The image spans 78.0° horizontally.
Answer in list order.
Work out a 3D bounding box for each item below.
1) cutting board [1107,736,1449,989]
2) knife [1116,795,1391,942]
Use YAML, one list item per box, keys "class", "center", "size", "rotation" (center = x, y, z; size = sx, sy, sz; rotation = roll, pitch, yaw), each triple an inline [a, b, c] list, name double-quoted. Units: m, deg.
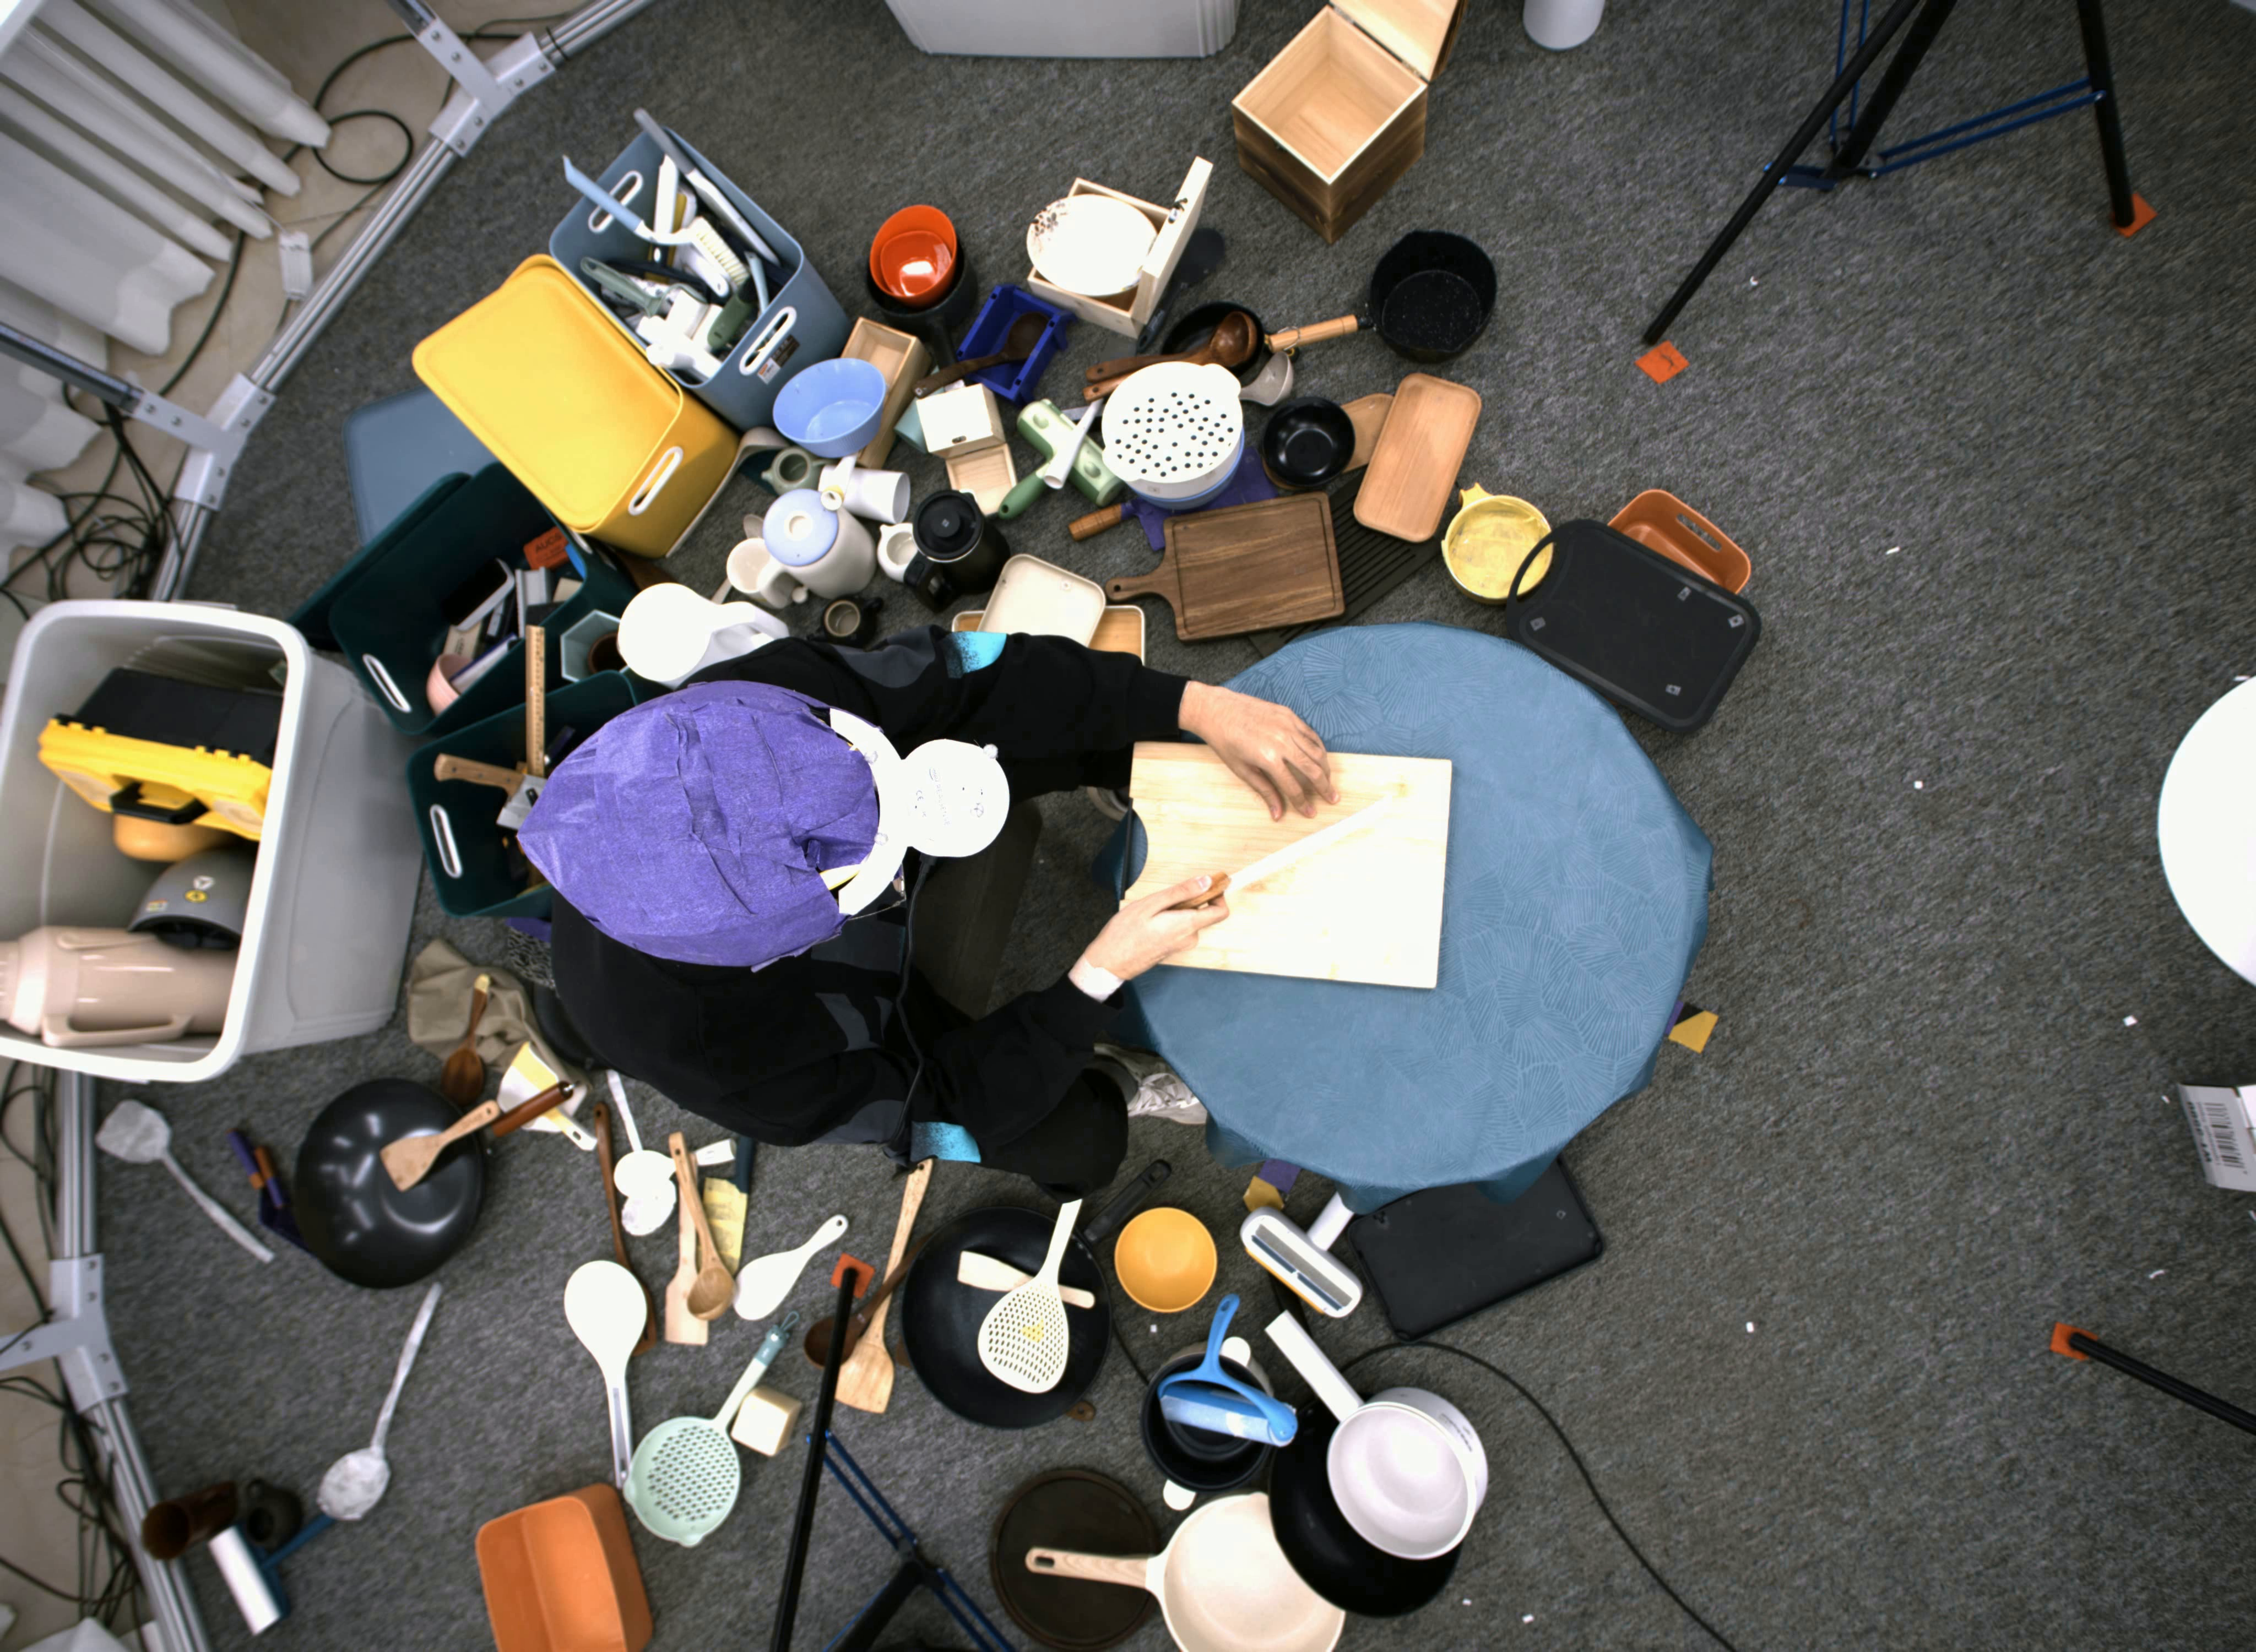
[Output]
- class: "cutting board"
  center: [0.158, 0.035, 1.474]
  size: [0.350, 0.023, 0.250]
  rotation: [3, 87, 11]
- class: "knife"
  center: [0.131, 0.044, 1.410]
  size: [0.307, 0.093, 0.021]
  rotation: [-27, 77, 6]
